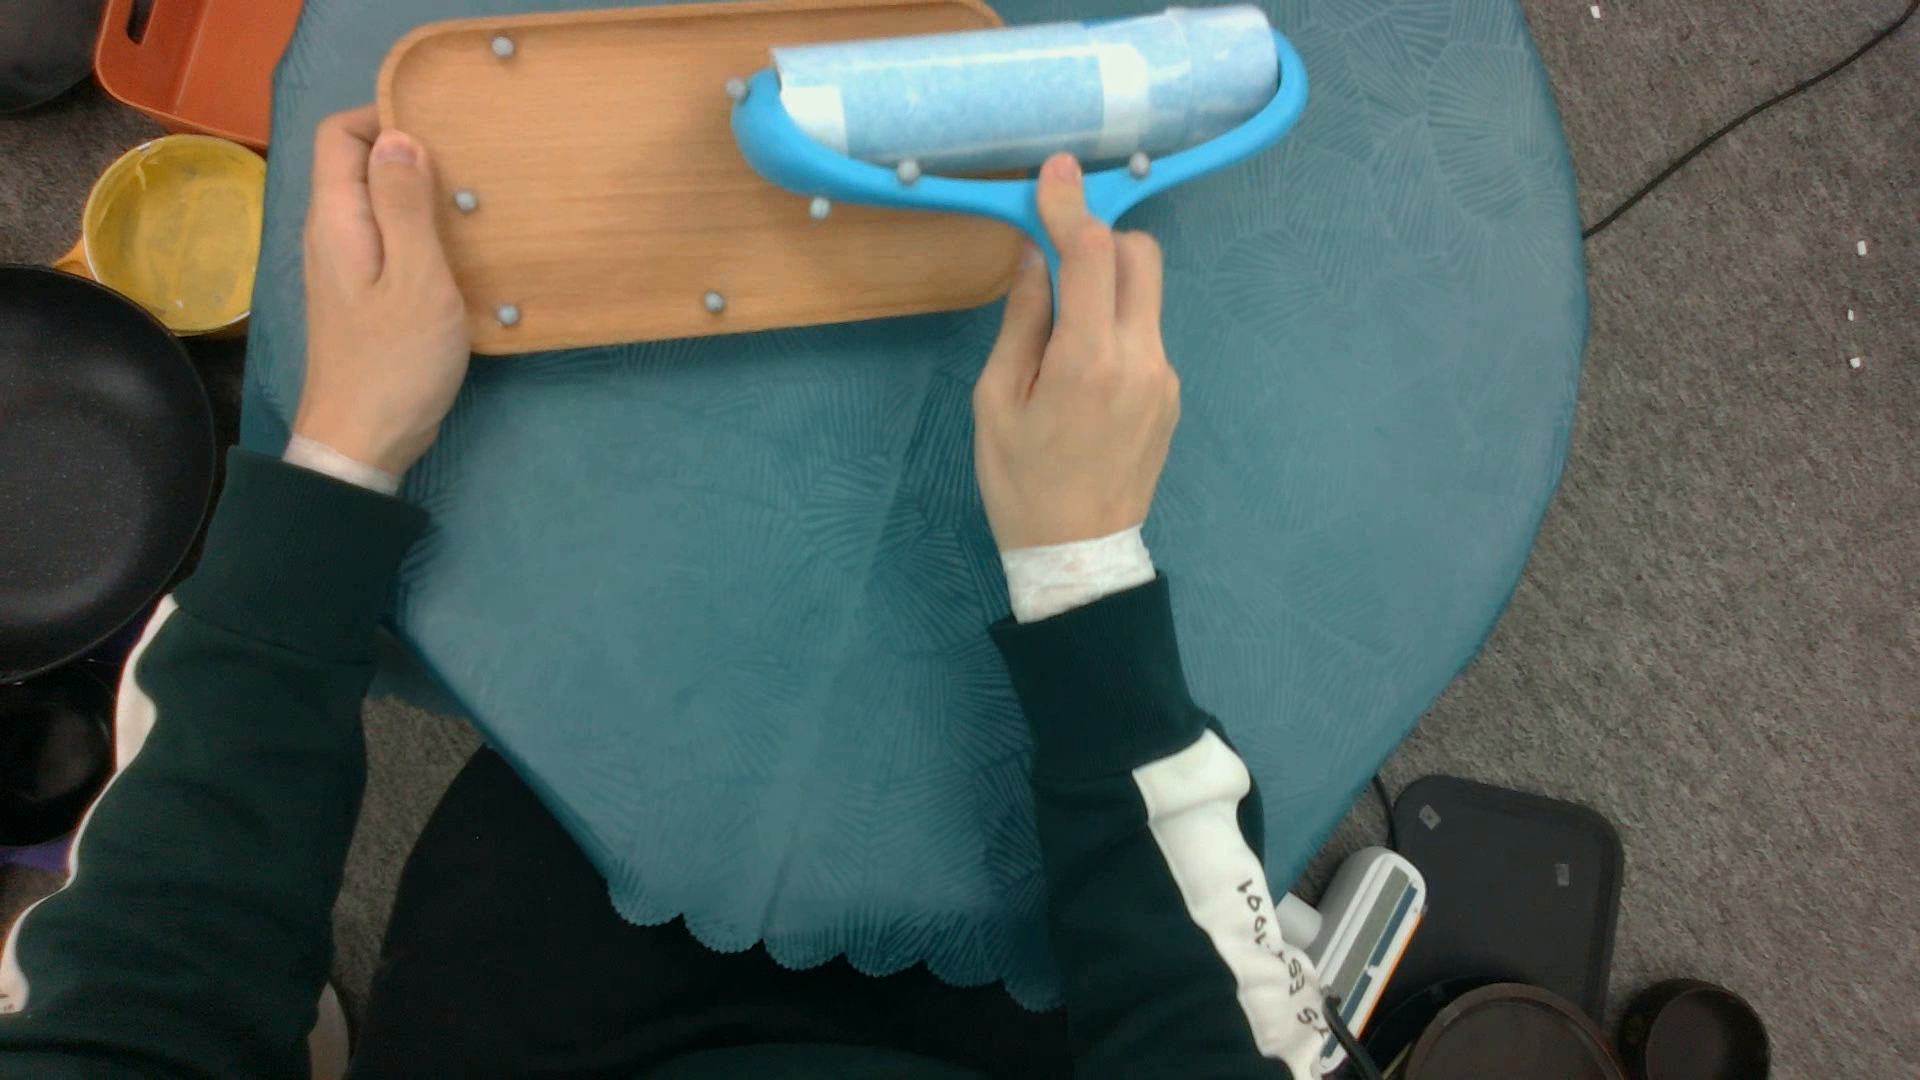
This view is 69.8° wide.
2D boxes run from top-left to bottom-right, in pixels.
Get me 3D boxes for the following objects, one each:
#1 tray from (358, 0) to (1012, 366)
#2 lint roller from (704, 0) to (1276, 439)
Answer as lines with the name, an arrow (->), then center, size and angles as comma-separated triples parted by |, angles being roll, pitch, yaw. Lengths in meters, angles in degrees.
tray -> -0.105, -0.148, 0.560 | 0.251, 0.023, 0.130 | -8, 103, -10
lint roller -> 0.029, -0.133, 0.537 | 0.229, 0.068, 0.180 | -14, 86, -13
